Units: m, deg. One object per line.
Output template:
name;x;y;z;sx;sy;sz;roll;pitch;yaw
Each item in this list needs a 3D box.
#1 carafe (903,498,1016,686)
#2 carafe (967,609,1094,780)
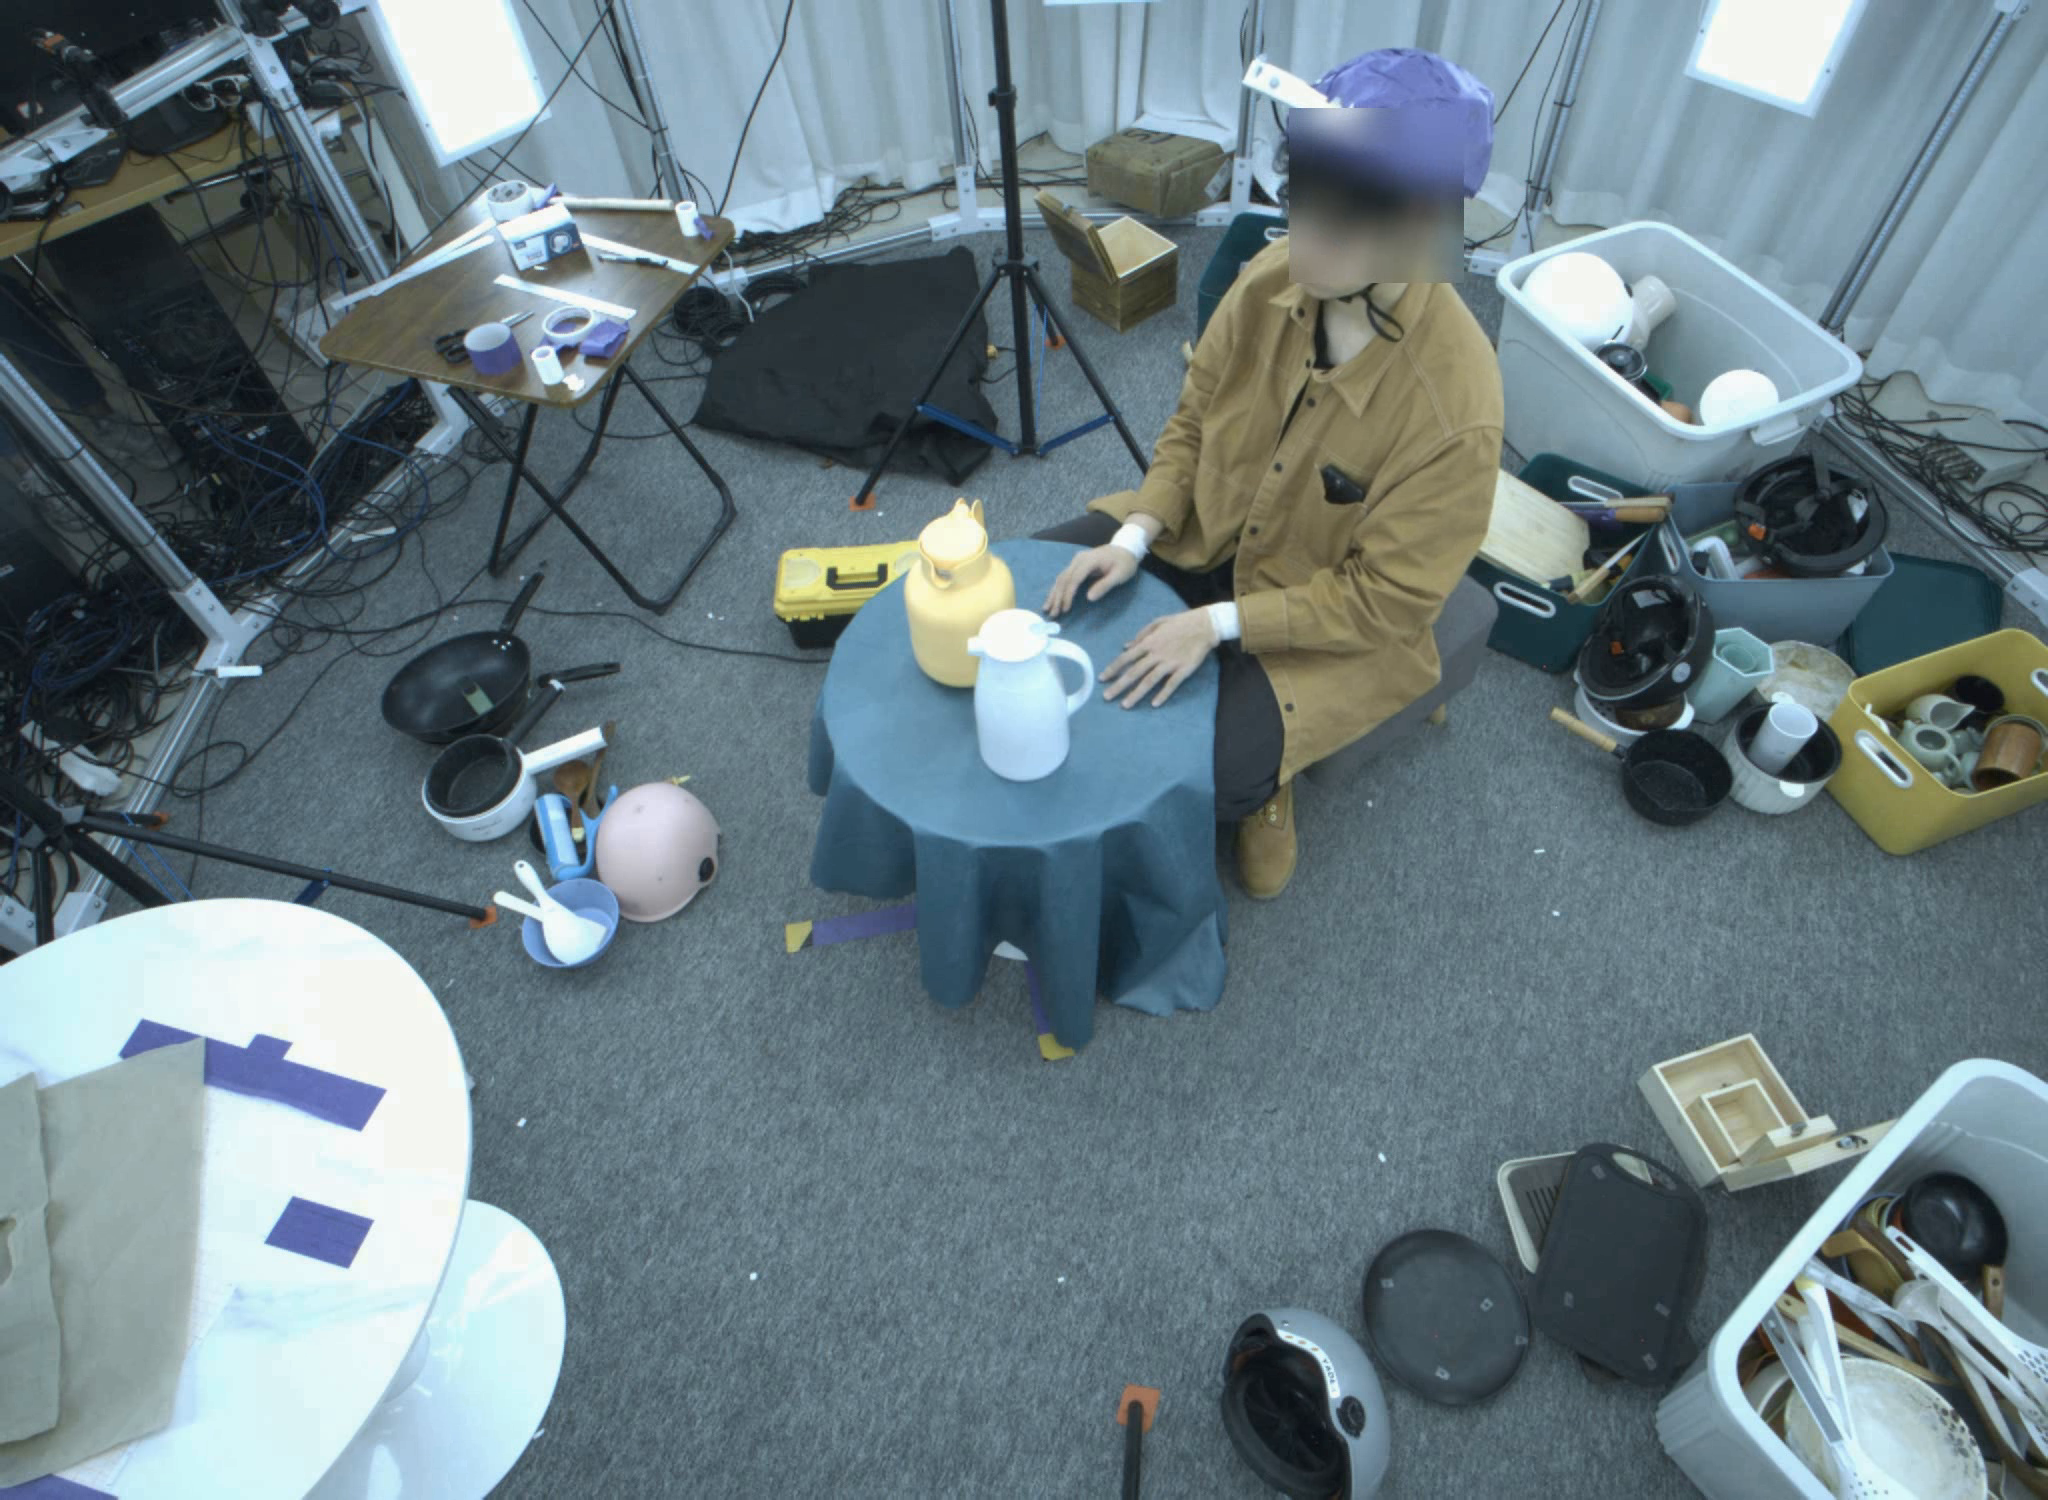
carafe;-0.089;-0.237;1.795;0.162;0.263;0.201;10;57;8
carafe;0.012;-0.083;1.689;0.168;0.251;0.131;-3;54;0
